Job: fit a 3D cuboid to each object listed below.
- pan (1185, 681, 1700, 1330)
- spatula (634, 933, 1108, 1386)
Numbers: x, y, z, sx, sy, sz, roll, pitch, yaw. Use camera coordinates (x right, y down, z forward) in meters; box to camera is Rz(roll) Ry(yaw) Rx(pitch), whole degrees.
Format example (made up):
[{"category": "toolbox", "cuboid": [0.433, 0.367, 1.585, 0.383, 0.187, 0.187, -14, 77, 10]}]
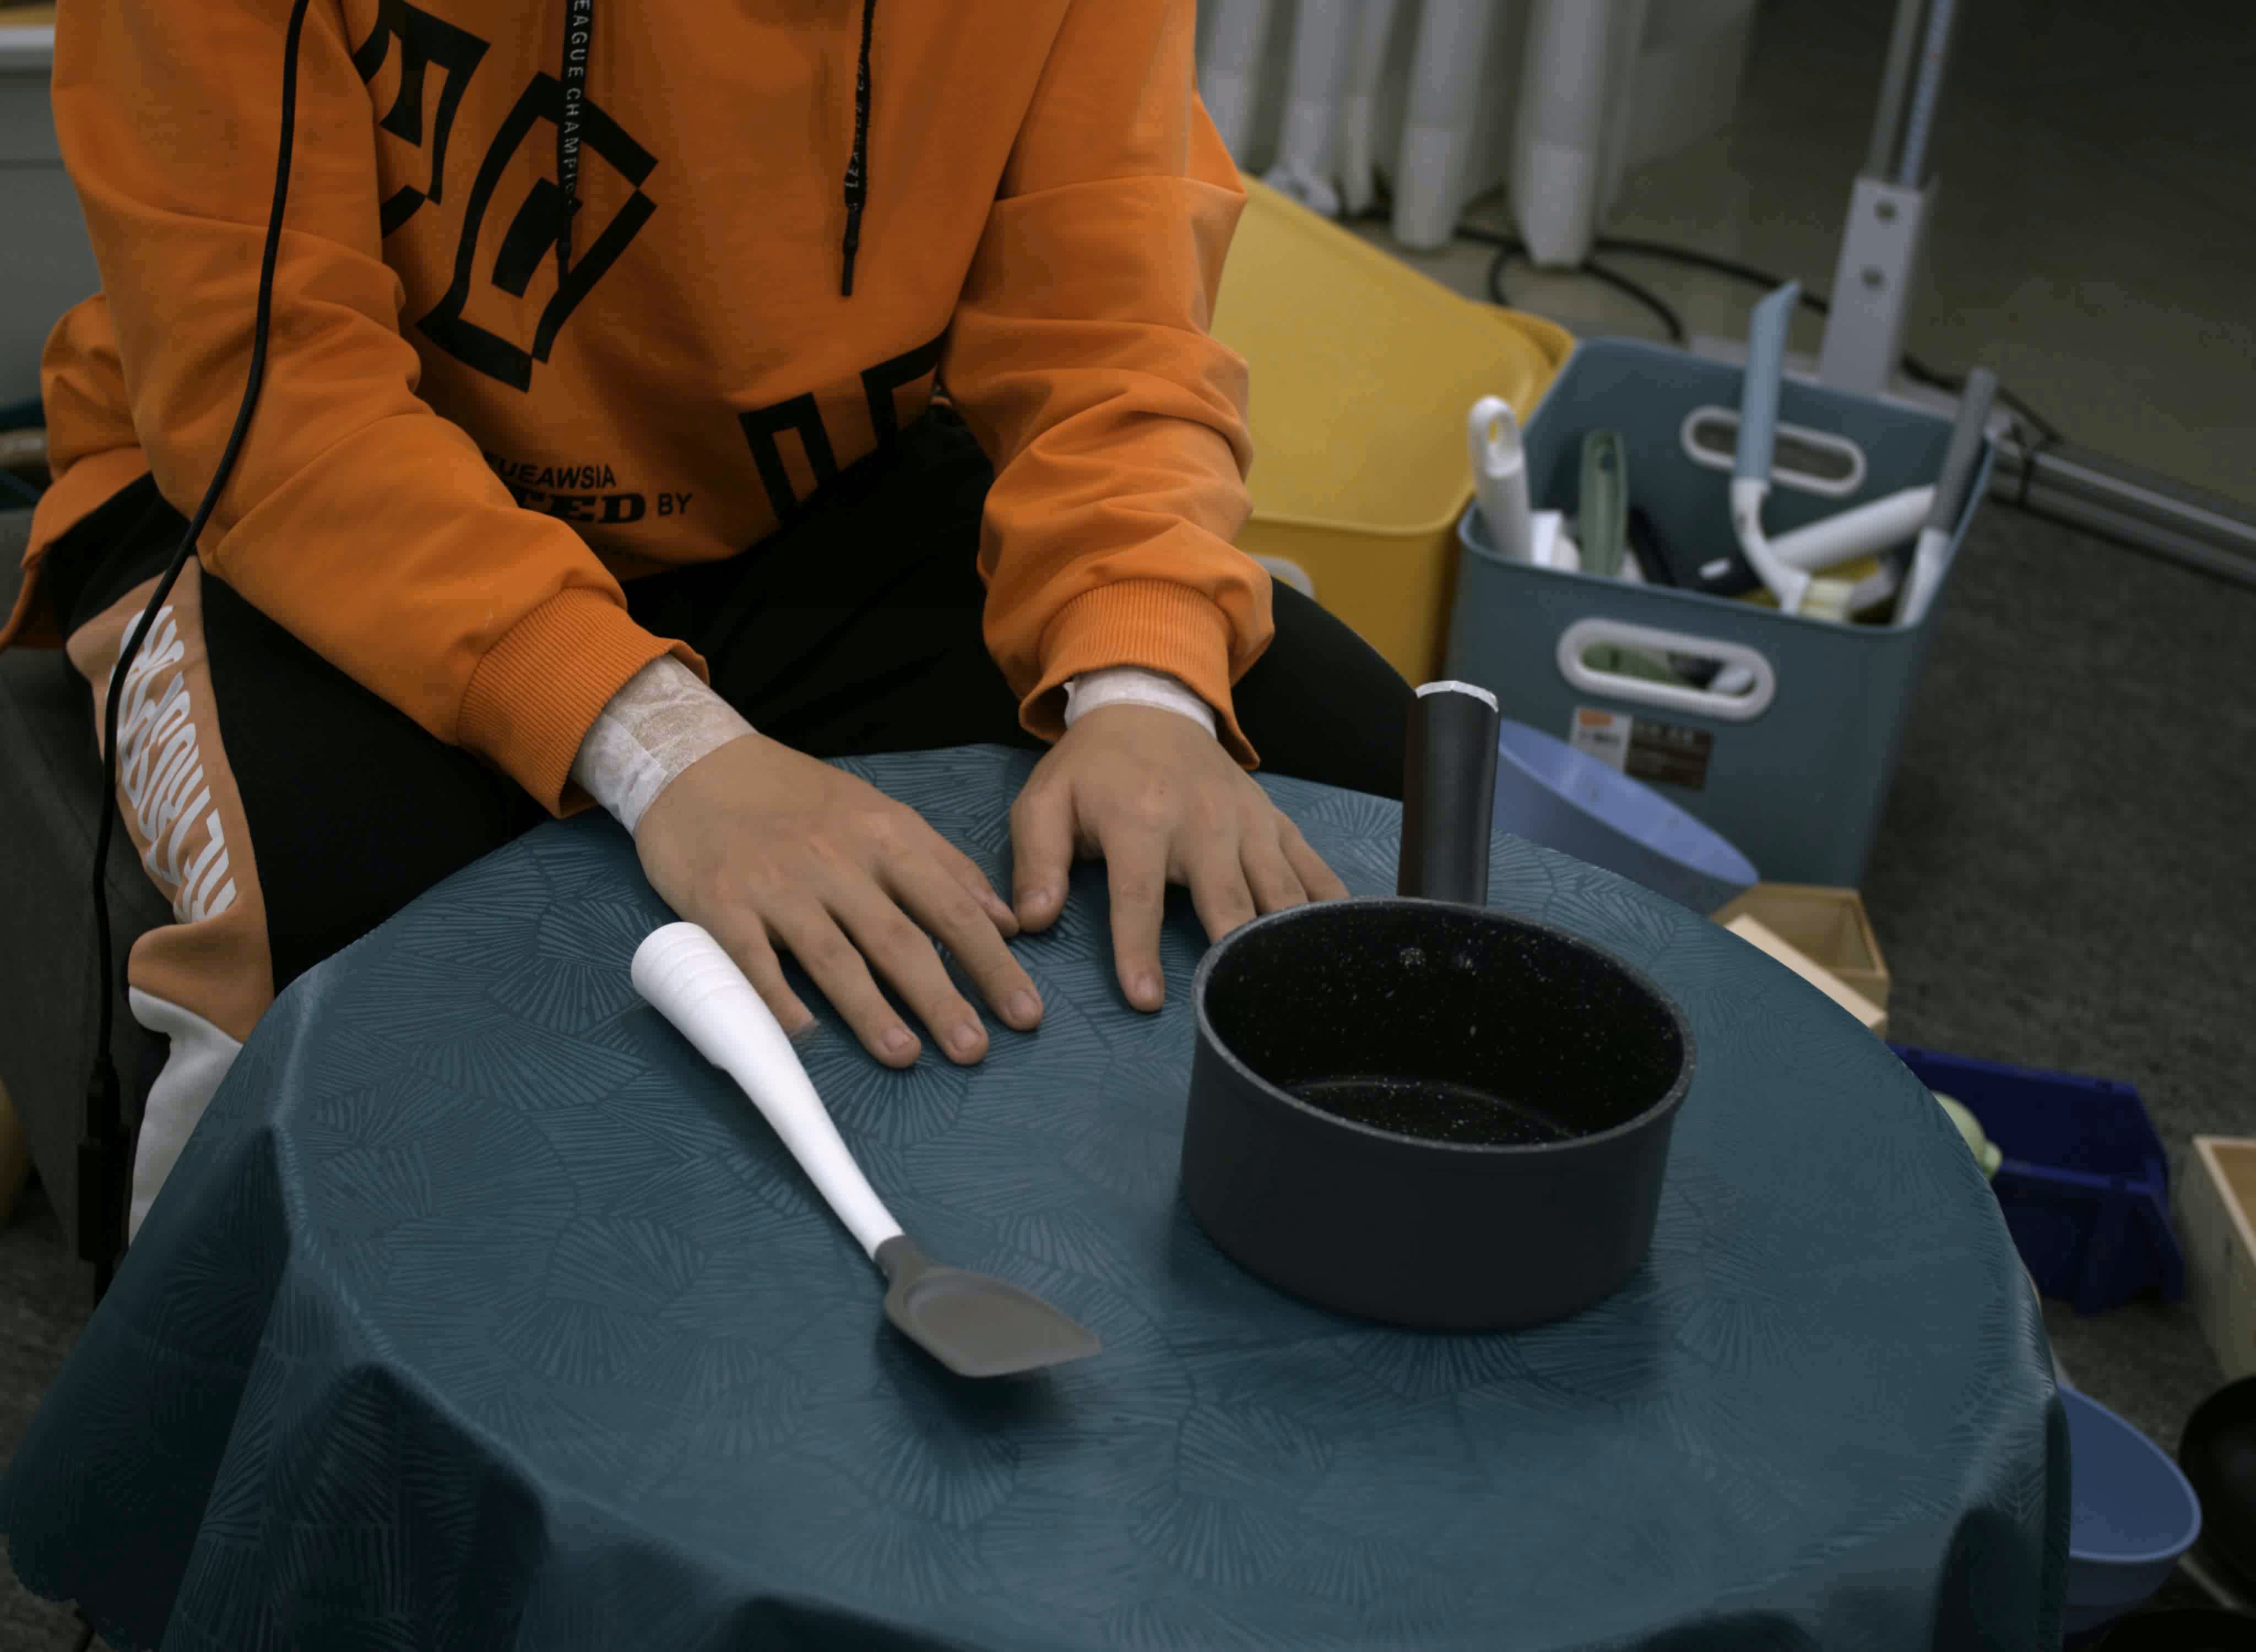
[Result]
[{"category": "pan", "cuboid": [0.111, 0.058, 1.863, 0.171, 0.086, 0.330, 9, 29, 3]}, {"category": "spatula", "cuboid": [-0.093, 0.114, 1.765, 0.058, 0.032, 0.290, -4, 28, -29]}]
